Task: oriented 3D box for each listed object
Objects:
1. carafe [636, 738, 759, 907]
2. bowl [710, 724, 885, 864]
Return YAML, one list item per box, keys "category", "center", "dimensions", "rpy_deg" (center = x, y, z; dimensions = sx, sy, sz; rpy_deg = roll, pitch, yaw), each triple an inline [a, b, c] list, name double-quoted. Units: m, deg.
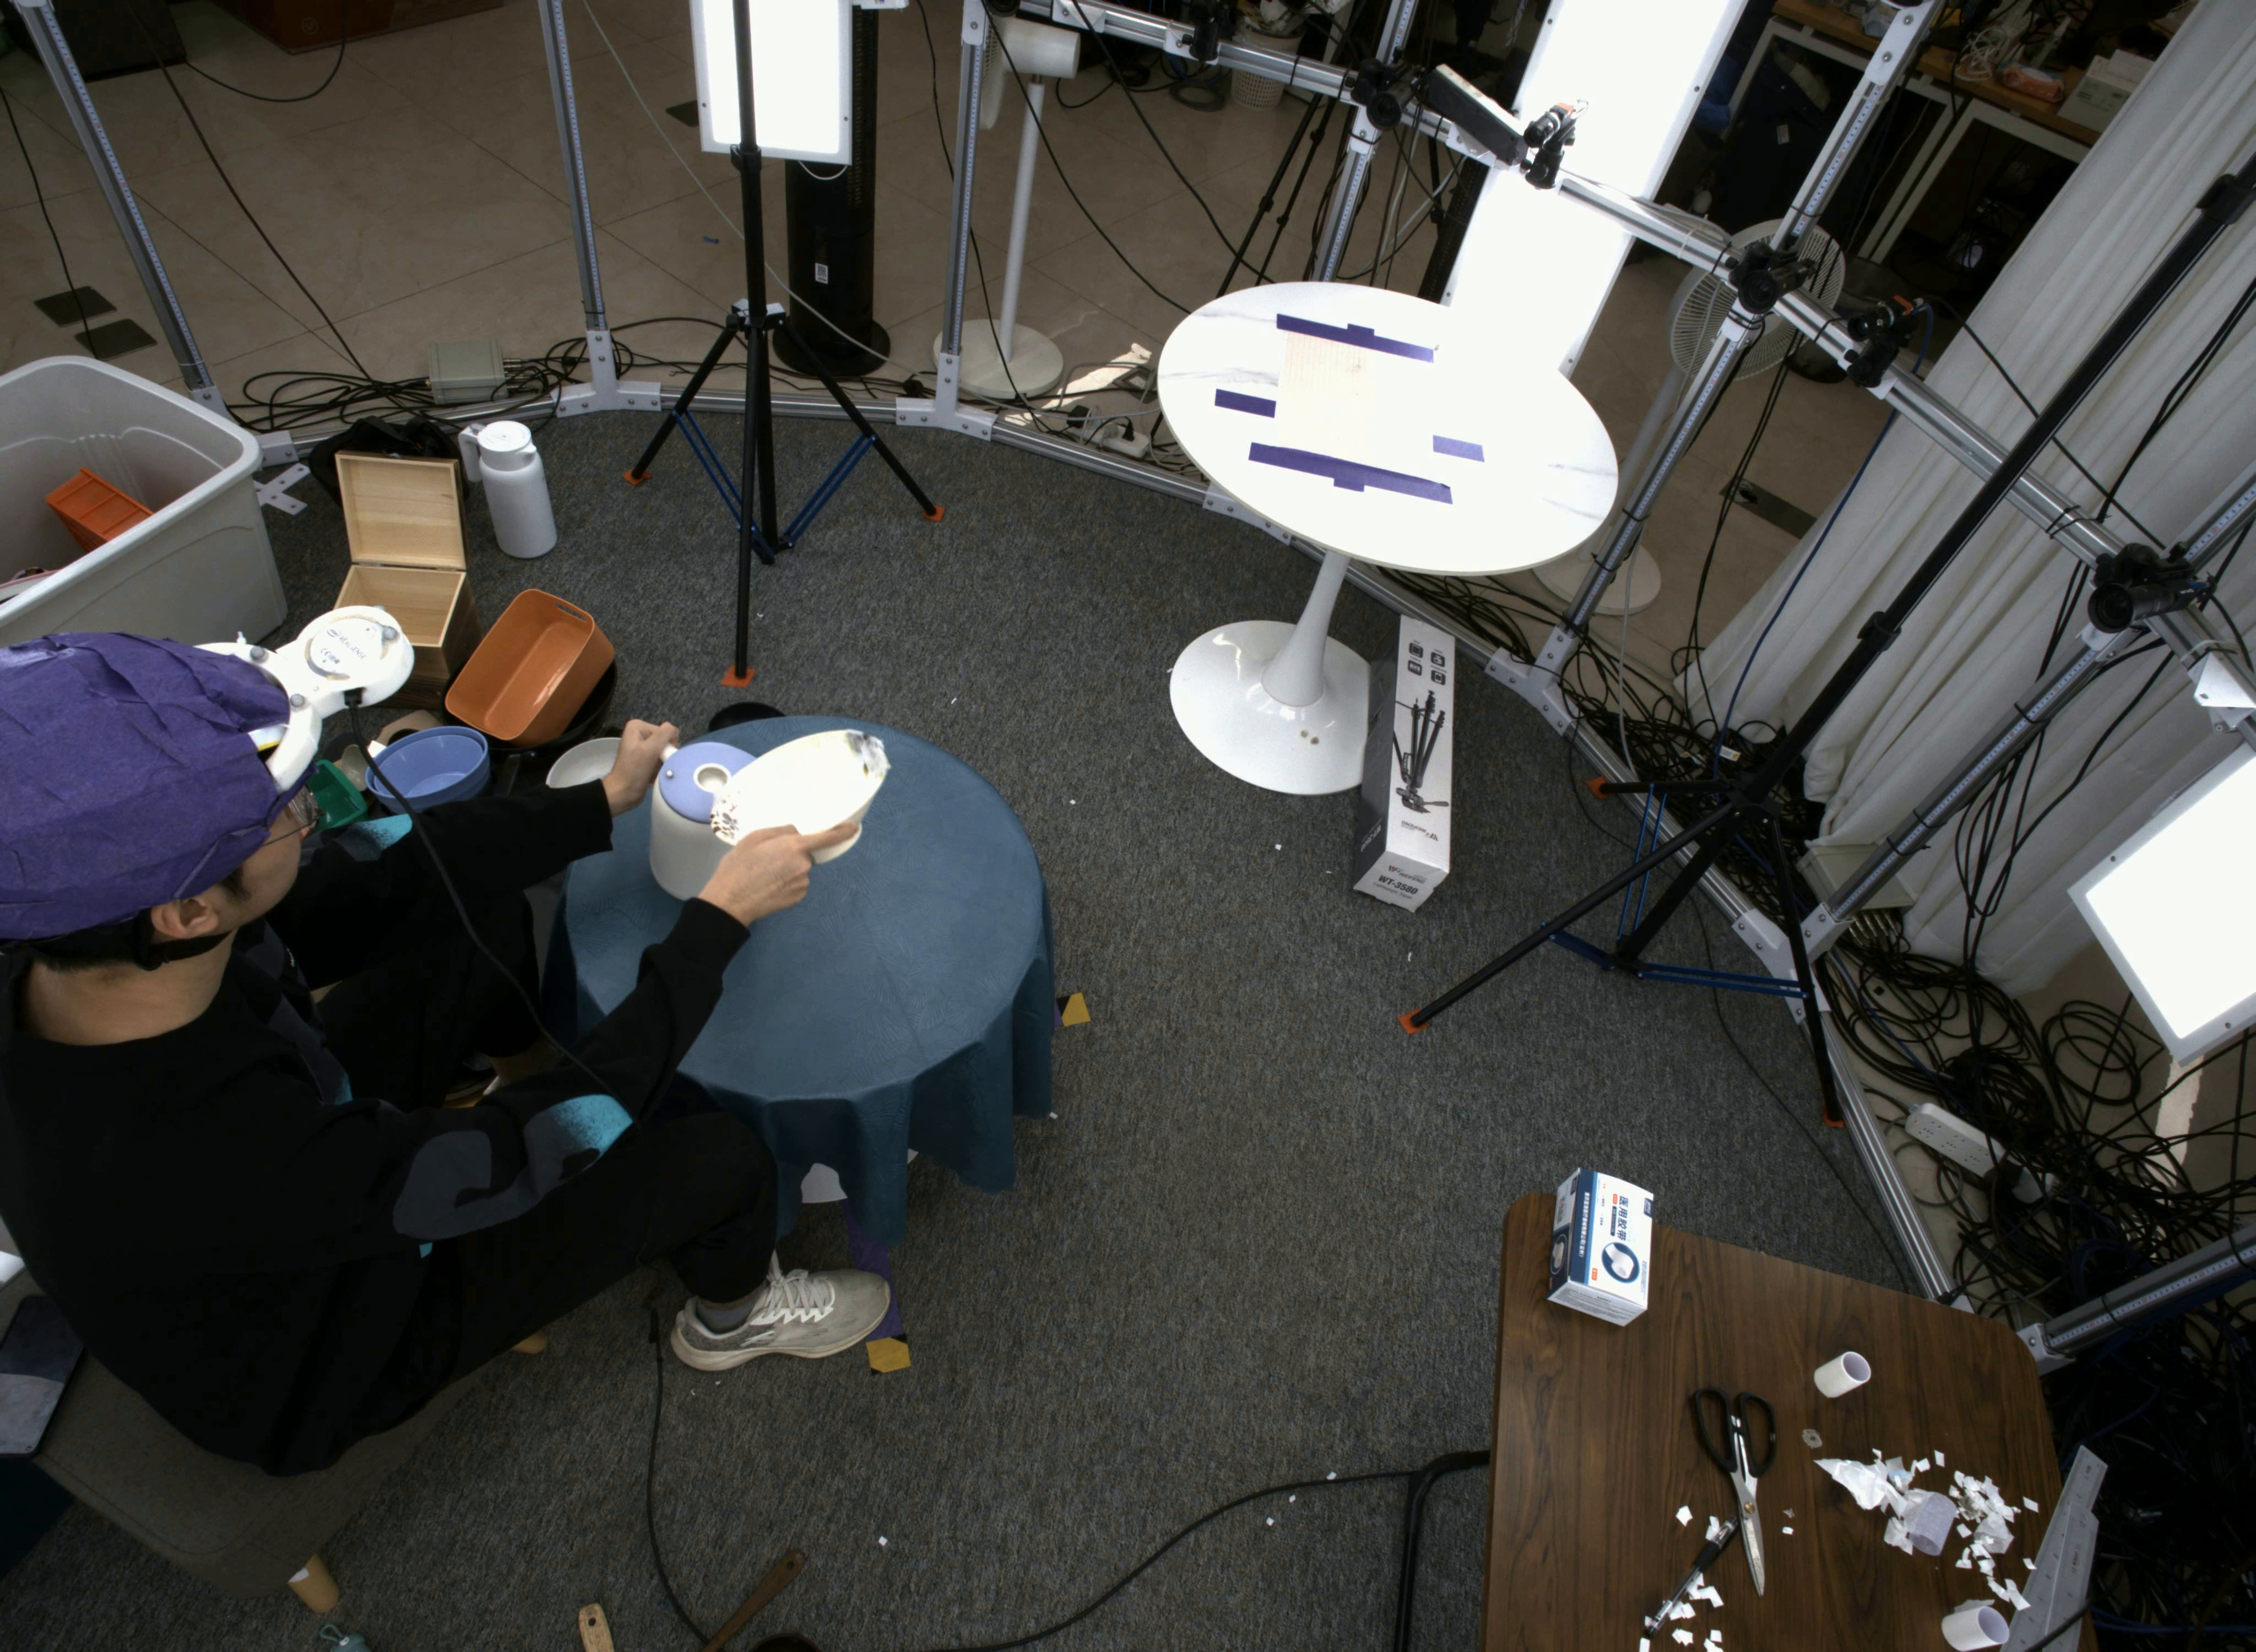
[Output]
- category: "carafe"
  center: [-0.525, -0.019, 1.549]
  dimensions: [0.188, 0.185, 0.132]
  rpy_deg: [37, 48, 12]
- category: "bowl"
  center: [-0.345, -0.019, 1.409]
  dimensions: [0.200, 0.081, 0.200]
  rpy_deg: [-11, 40, 11]
